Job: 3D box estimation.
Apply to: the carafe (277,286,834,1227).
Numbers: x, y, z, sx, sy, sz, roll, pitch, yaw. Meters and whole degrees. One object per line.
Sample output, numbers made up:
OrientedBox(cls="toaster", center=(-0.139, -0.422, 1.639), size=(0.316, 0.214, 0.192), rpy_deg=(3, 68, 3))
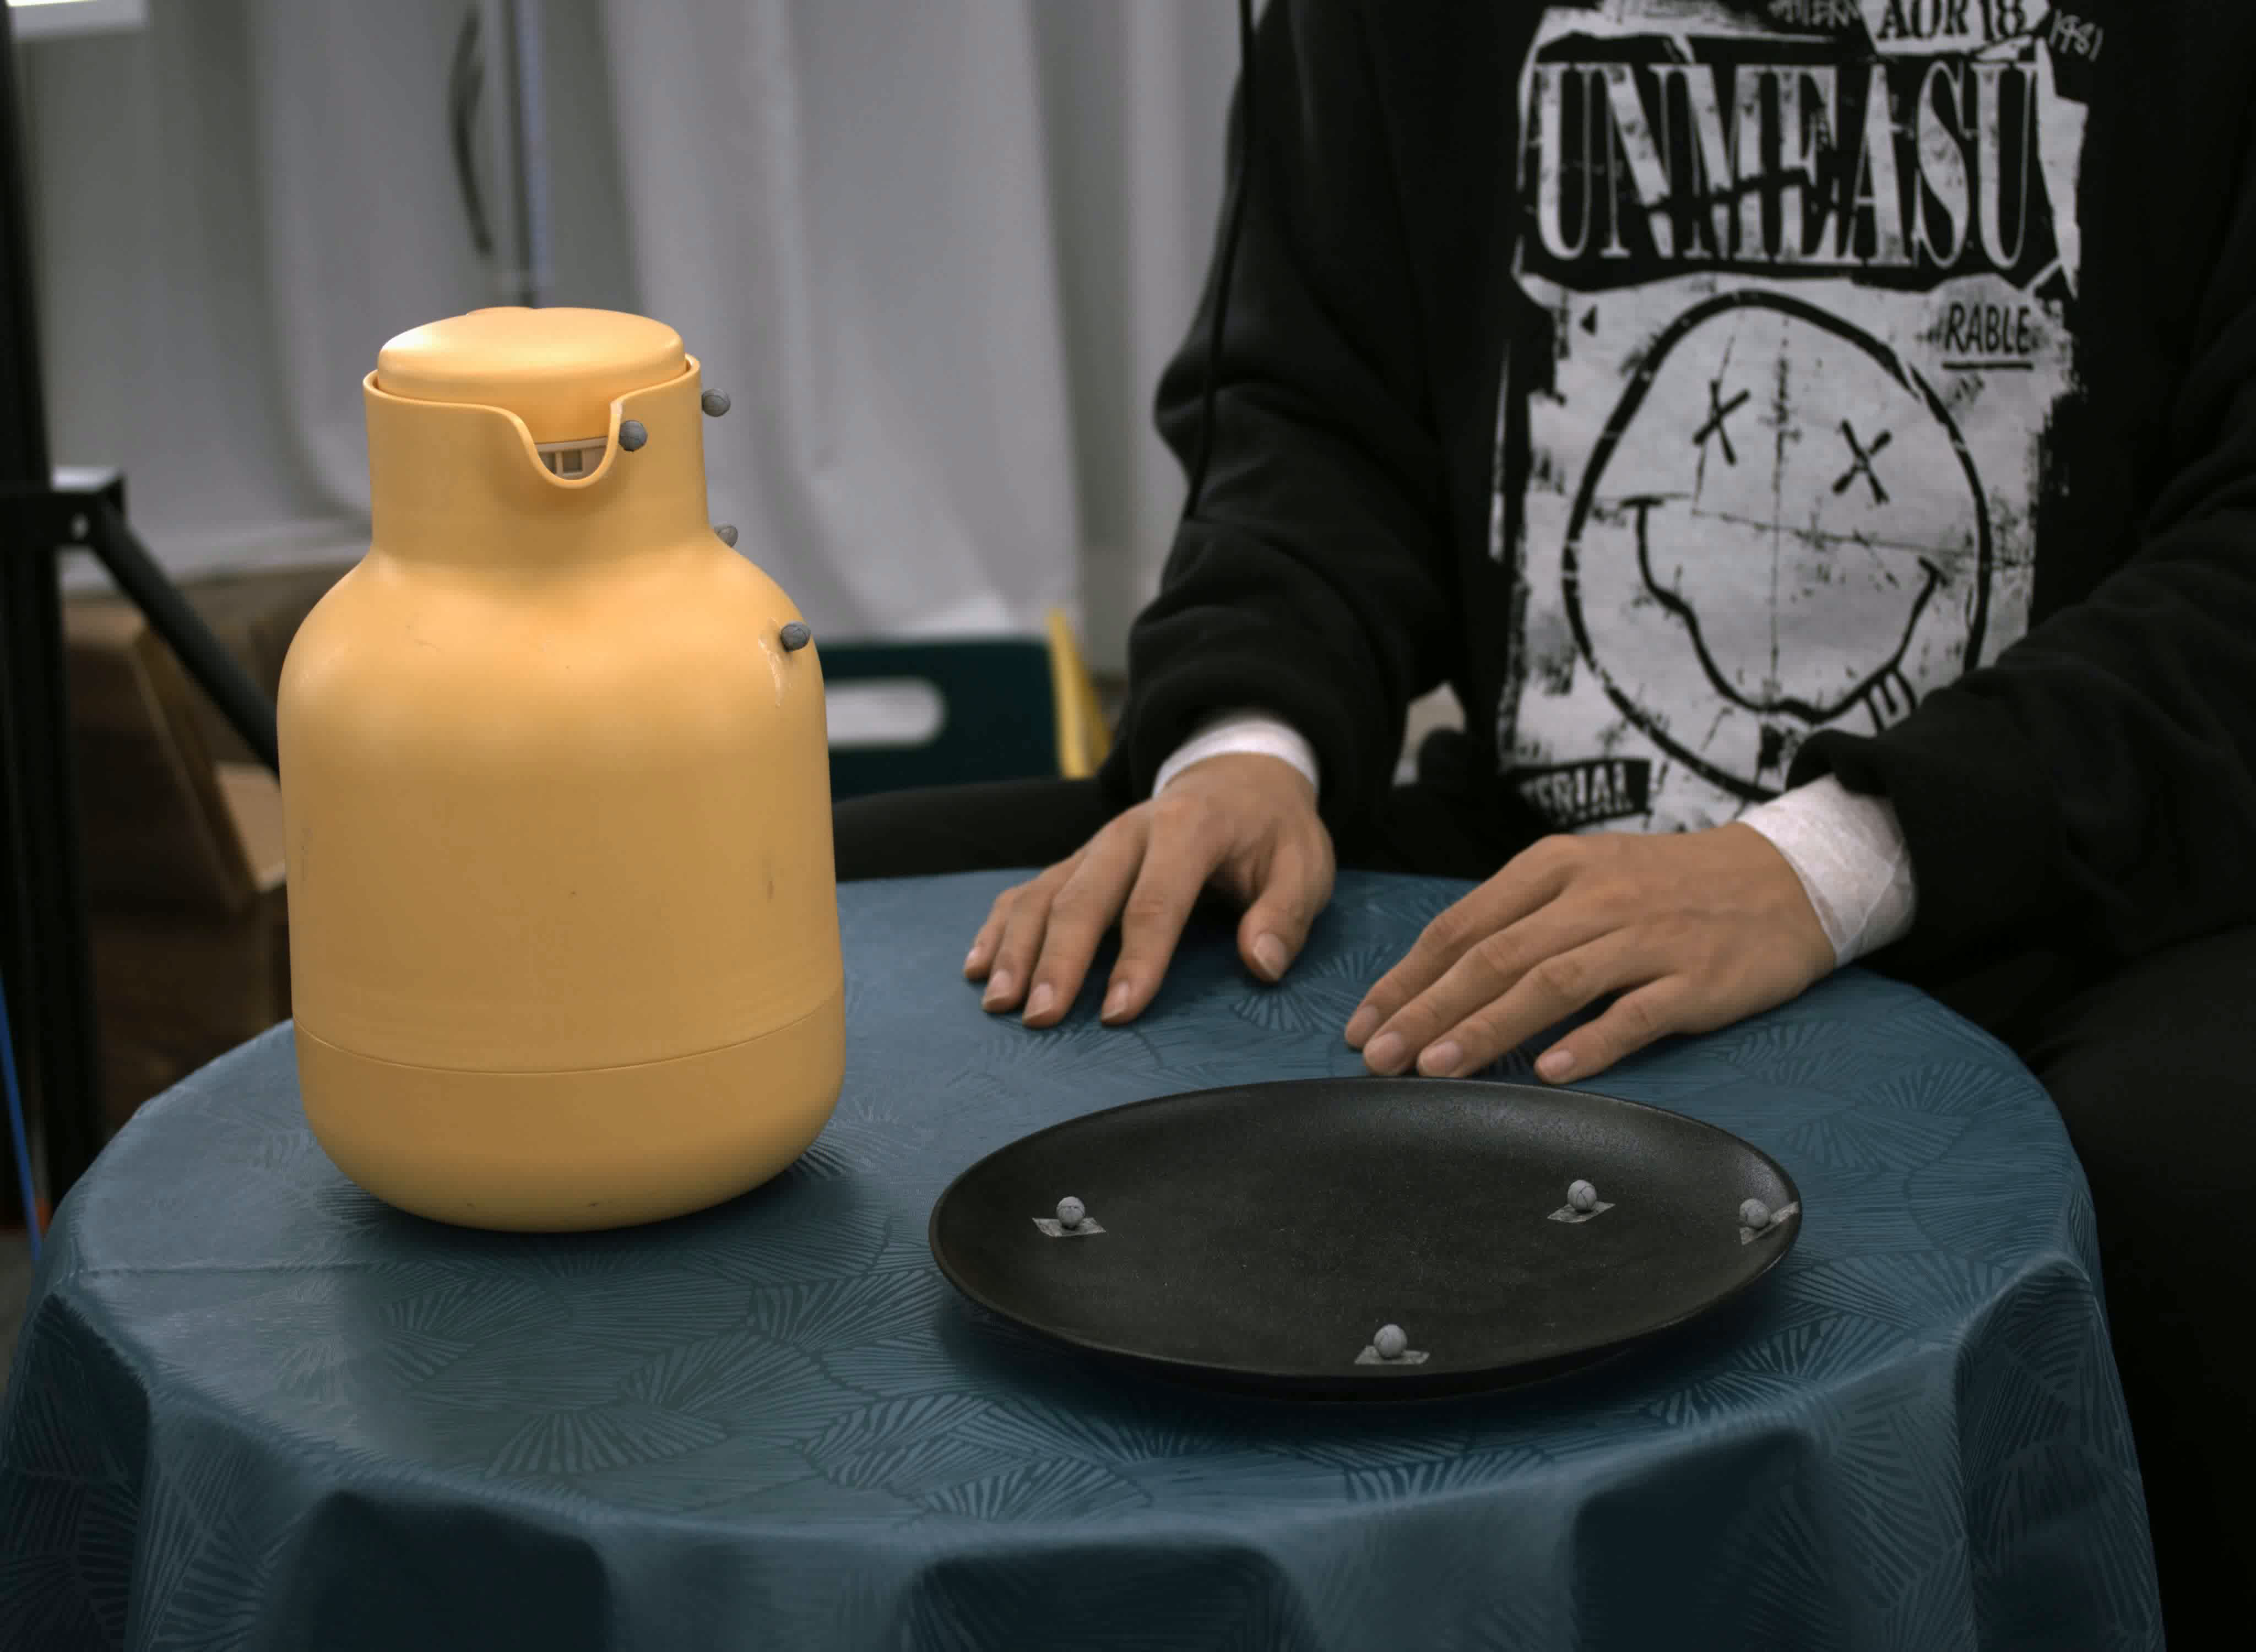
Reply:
OrientedBox(cls="carafe", center=(-0.171, -0.029, 1.584), size=(0.161, 0.260, 0.205), rpy_deg=(-2, 17, -11))

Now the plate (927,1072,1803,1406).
OrientedBox(cls="plate", center=(0.065, 0.117, 1.469), size=(0.243, 0.023, 0.245), rpy_deg=(-3, 16, -1))
